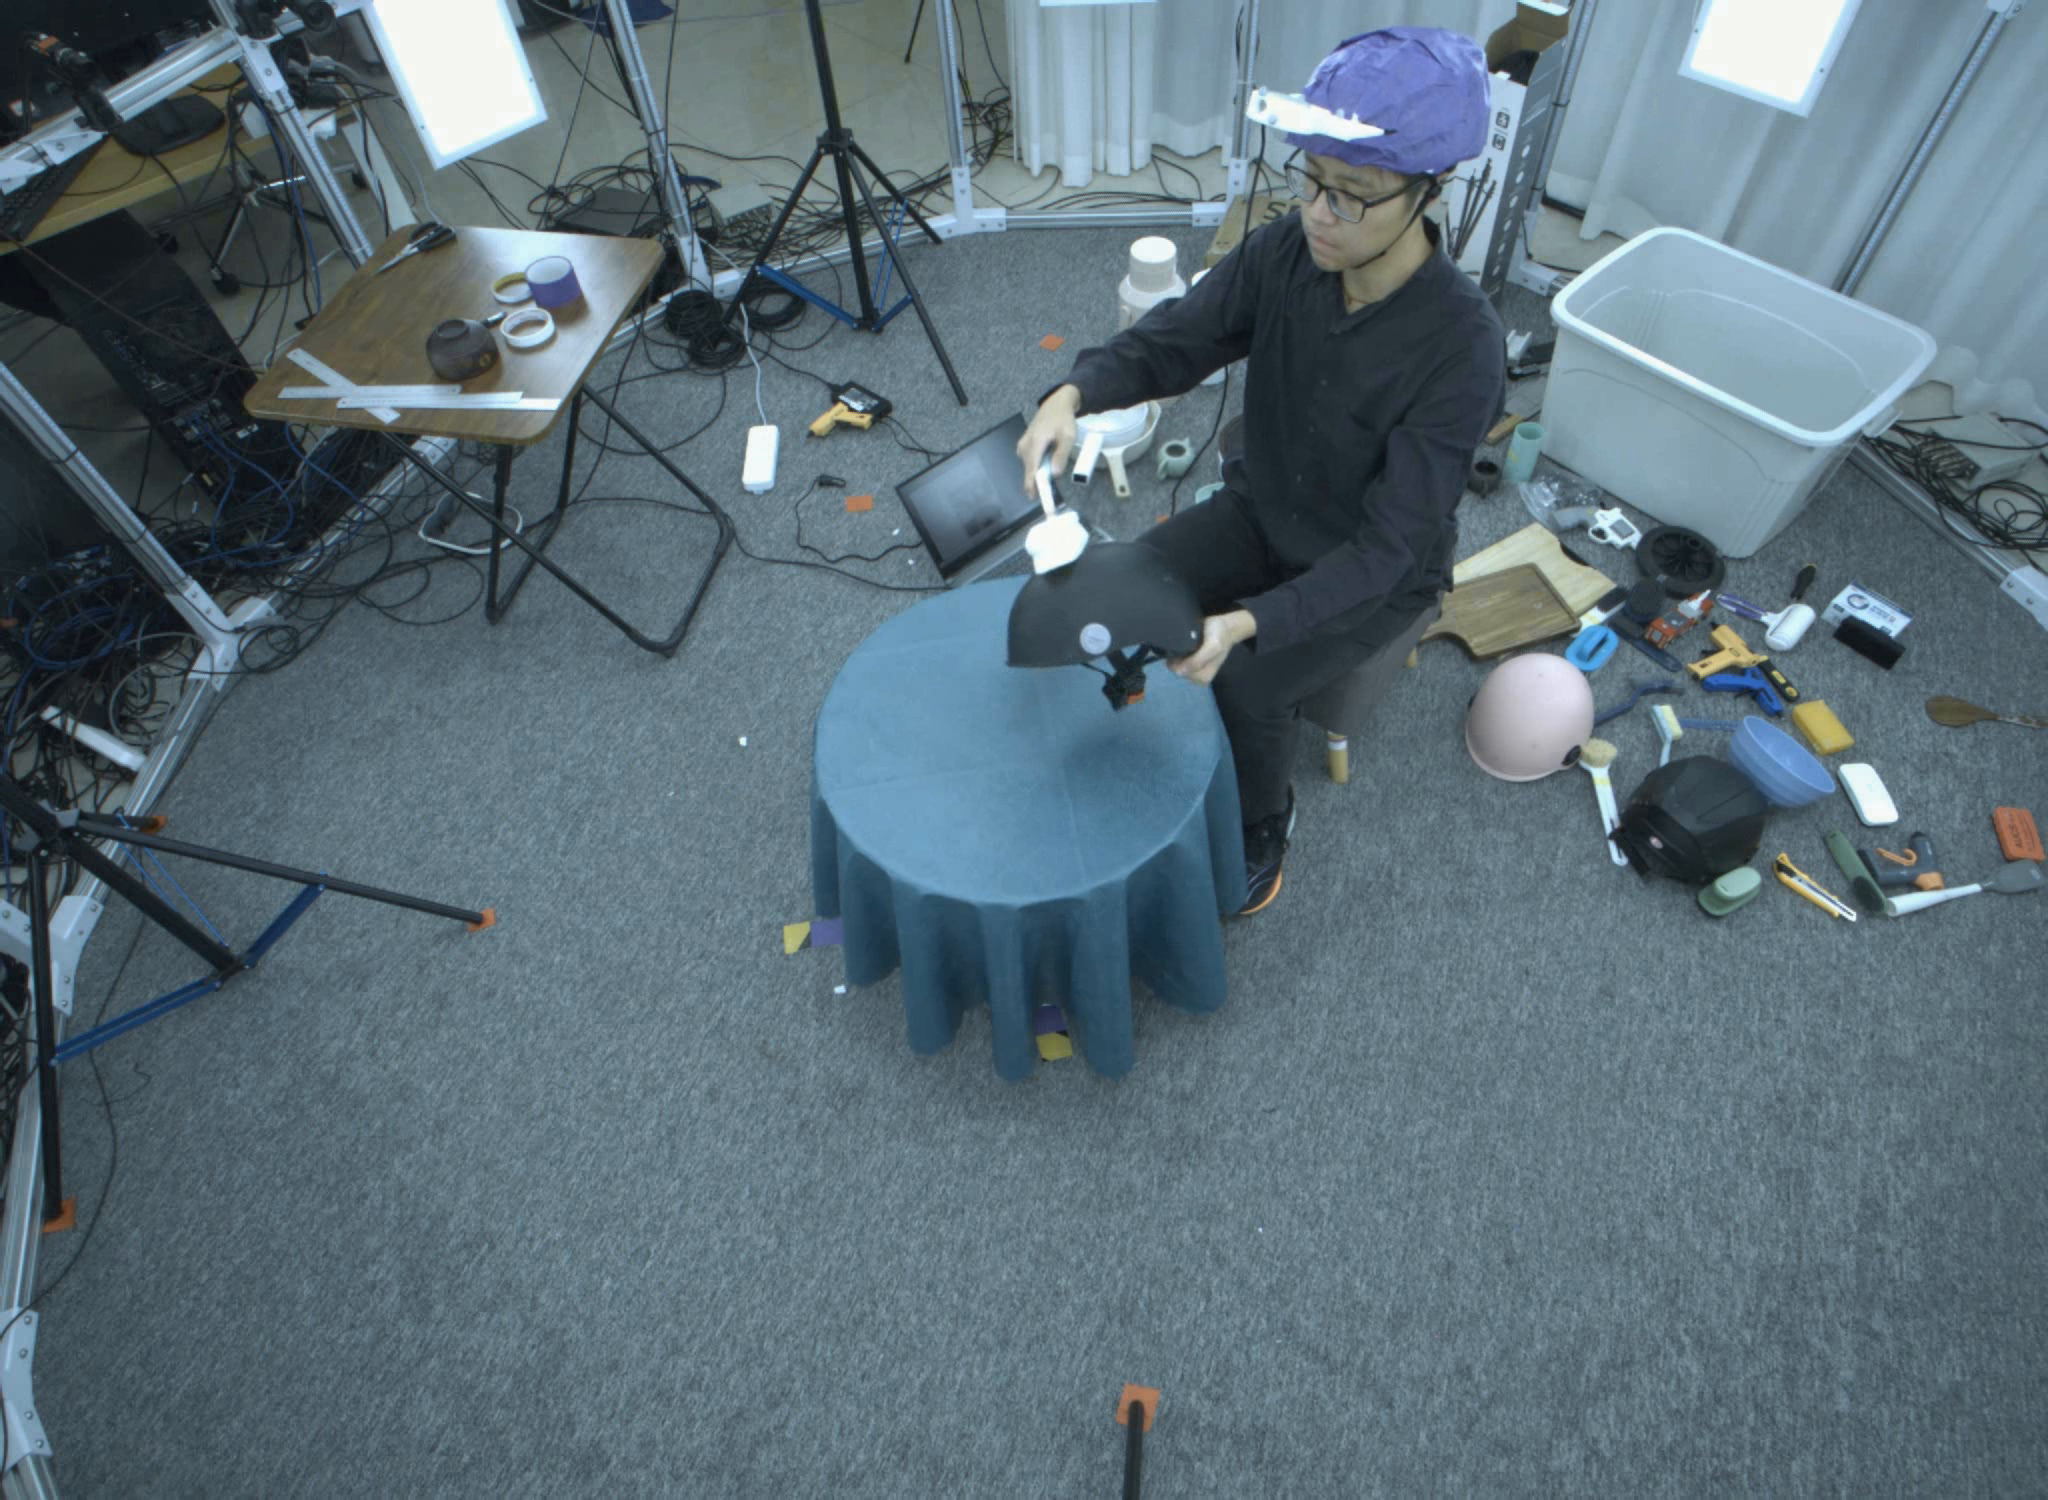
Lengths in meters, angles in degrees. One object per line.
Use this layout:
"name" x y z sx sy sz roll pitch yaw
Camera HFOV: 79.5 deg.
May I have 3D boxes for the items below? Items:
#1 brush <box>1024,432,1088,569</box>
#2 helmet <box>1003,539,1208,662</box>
"brush" 0.047 -0.331 1.656 0.083 0.085 0.322 11 39 -5
"helmet" 0.106 -0.196 1.631 0.275 0.228 0.167 -3 99 -8
